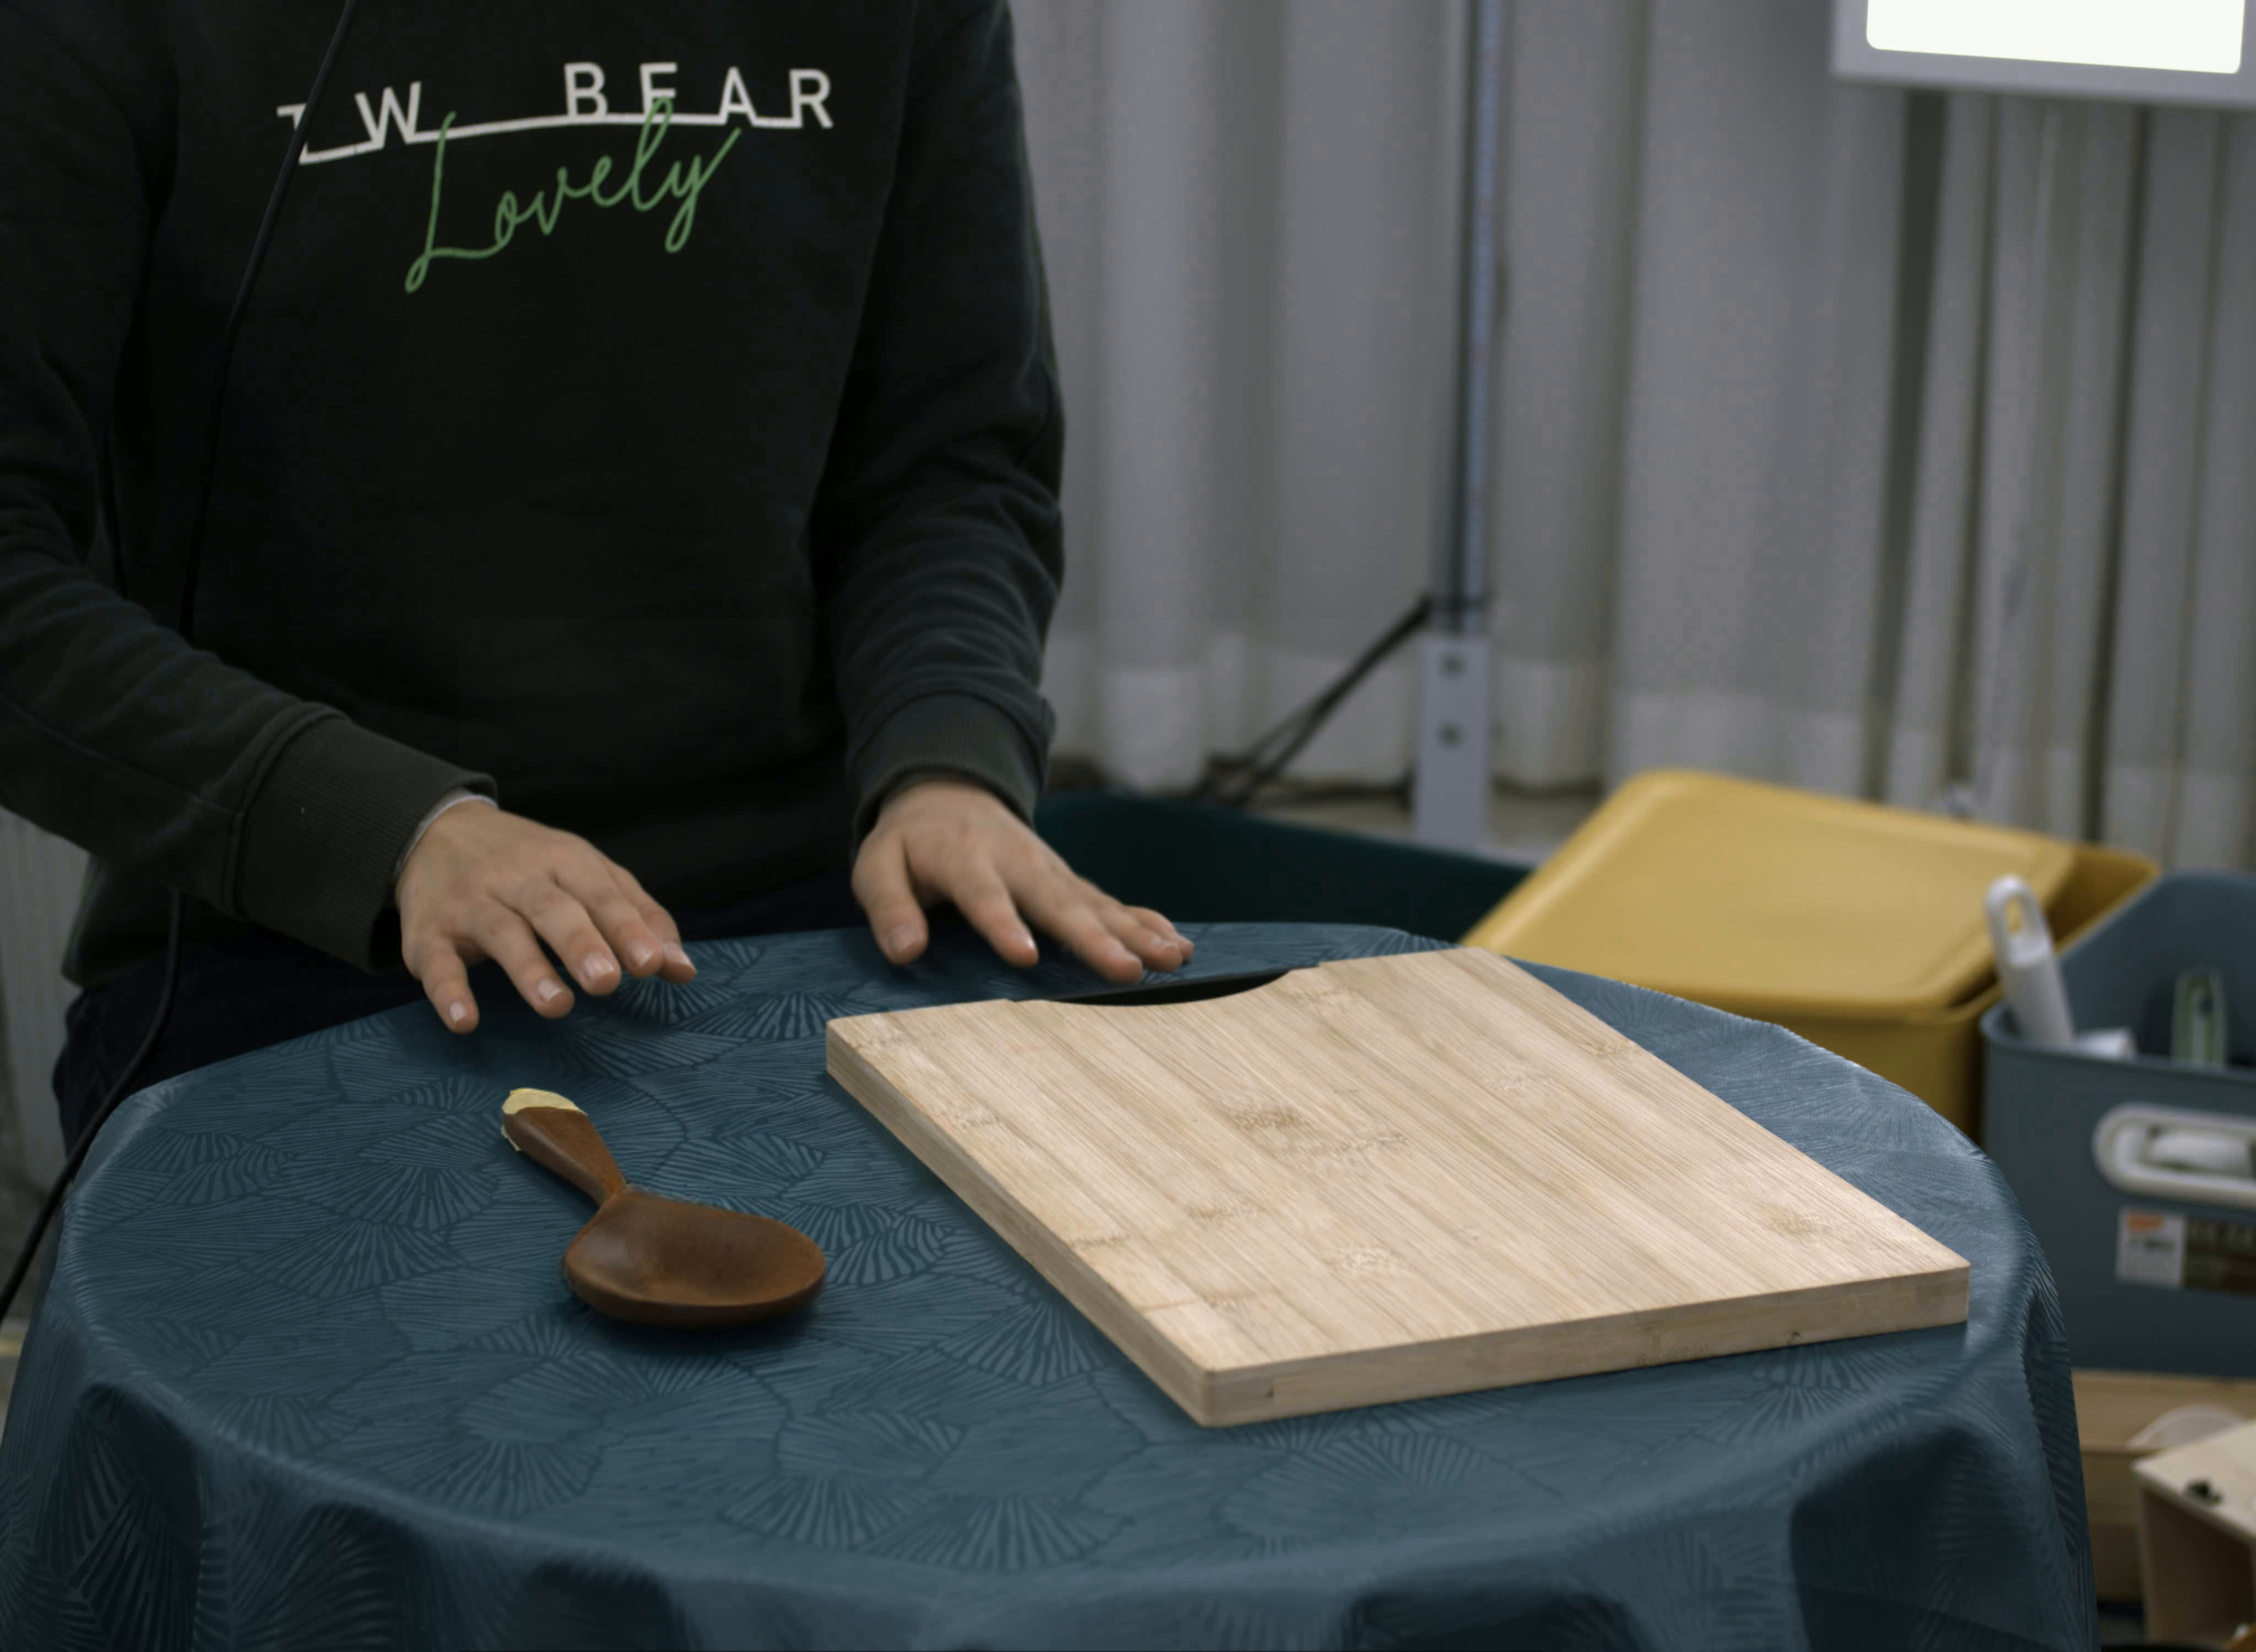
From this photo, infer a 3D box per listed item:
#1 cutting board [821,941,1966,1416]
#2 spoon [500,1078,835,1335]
[{"bbox_3d":[0.070,0.103,1.635,0.251,0.024,0.344,-5,17,-22],"label":"cutting board"},{"bbox_3d":[-0.148,0.115,1.580,0.076,0.017,0.213,-8,18,-22],"label":"spoon"}]
